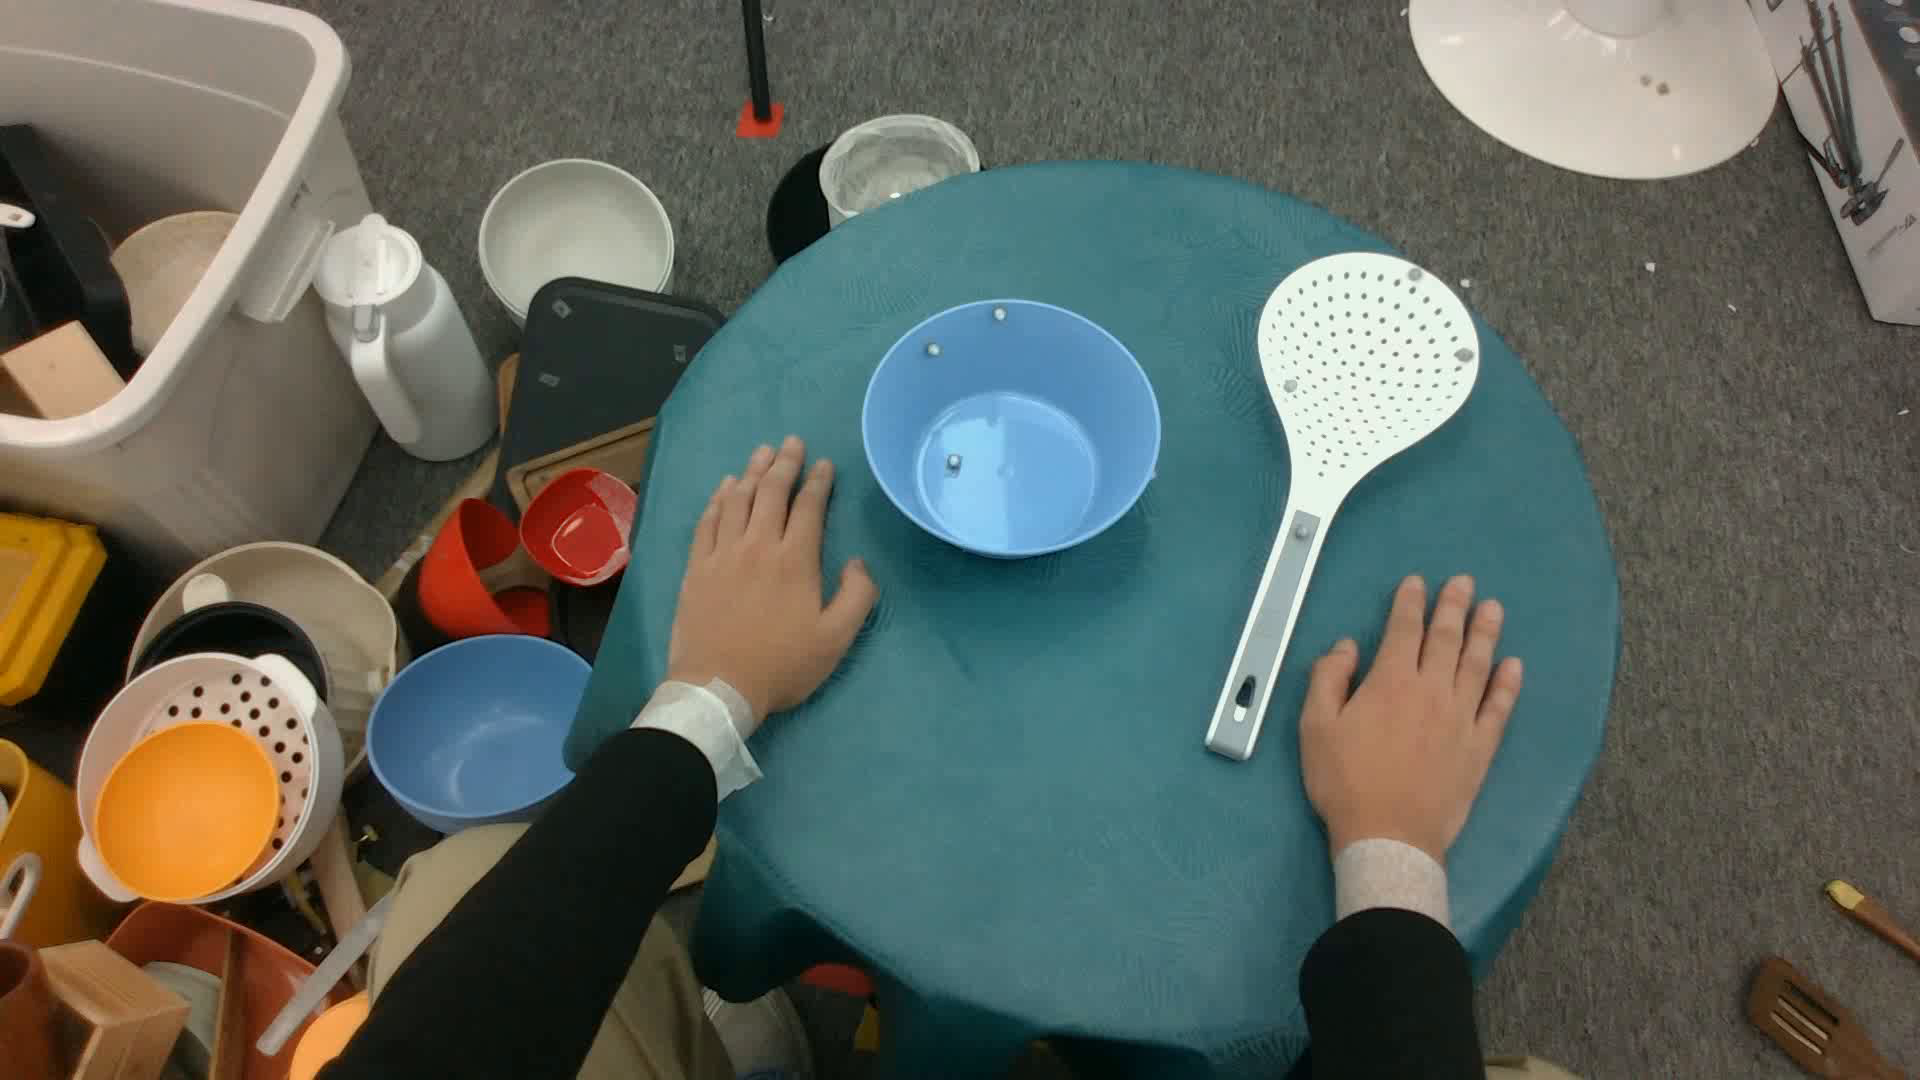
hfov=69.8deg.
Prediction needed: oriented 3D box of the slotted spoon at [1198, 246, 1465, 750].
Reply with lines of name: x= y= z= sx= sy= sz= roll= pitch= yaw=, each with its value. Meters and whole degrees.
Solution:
slotted spoon: x=0.213 y=-0.034 z=0.843 sx=0.136 sy=0.045 sz=0.351 roll=20 pitch=64 yaw=8

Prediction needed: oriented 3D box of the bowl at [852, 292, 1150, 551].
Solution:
bowl: x=0.023 y=-0.060 z=0.834 sx=0.176 sy=0.070 sz=0.176 roll=1 pitch=64 yaw=-2
